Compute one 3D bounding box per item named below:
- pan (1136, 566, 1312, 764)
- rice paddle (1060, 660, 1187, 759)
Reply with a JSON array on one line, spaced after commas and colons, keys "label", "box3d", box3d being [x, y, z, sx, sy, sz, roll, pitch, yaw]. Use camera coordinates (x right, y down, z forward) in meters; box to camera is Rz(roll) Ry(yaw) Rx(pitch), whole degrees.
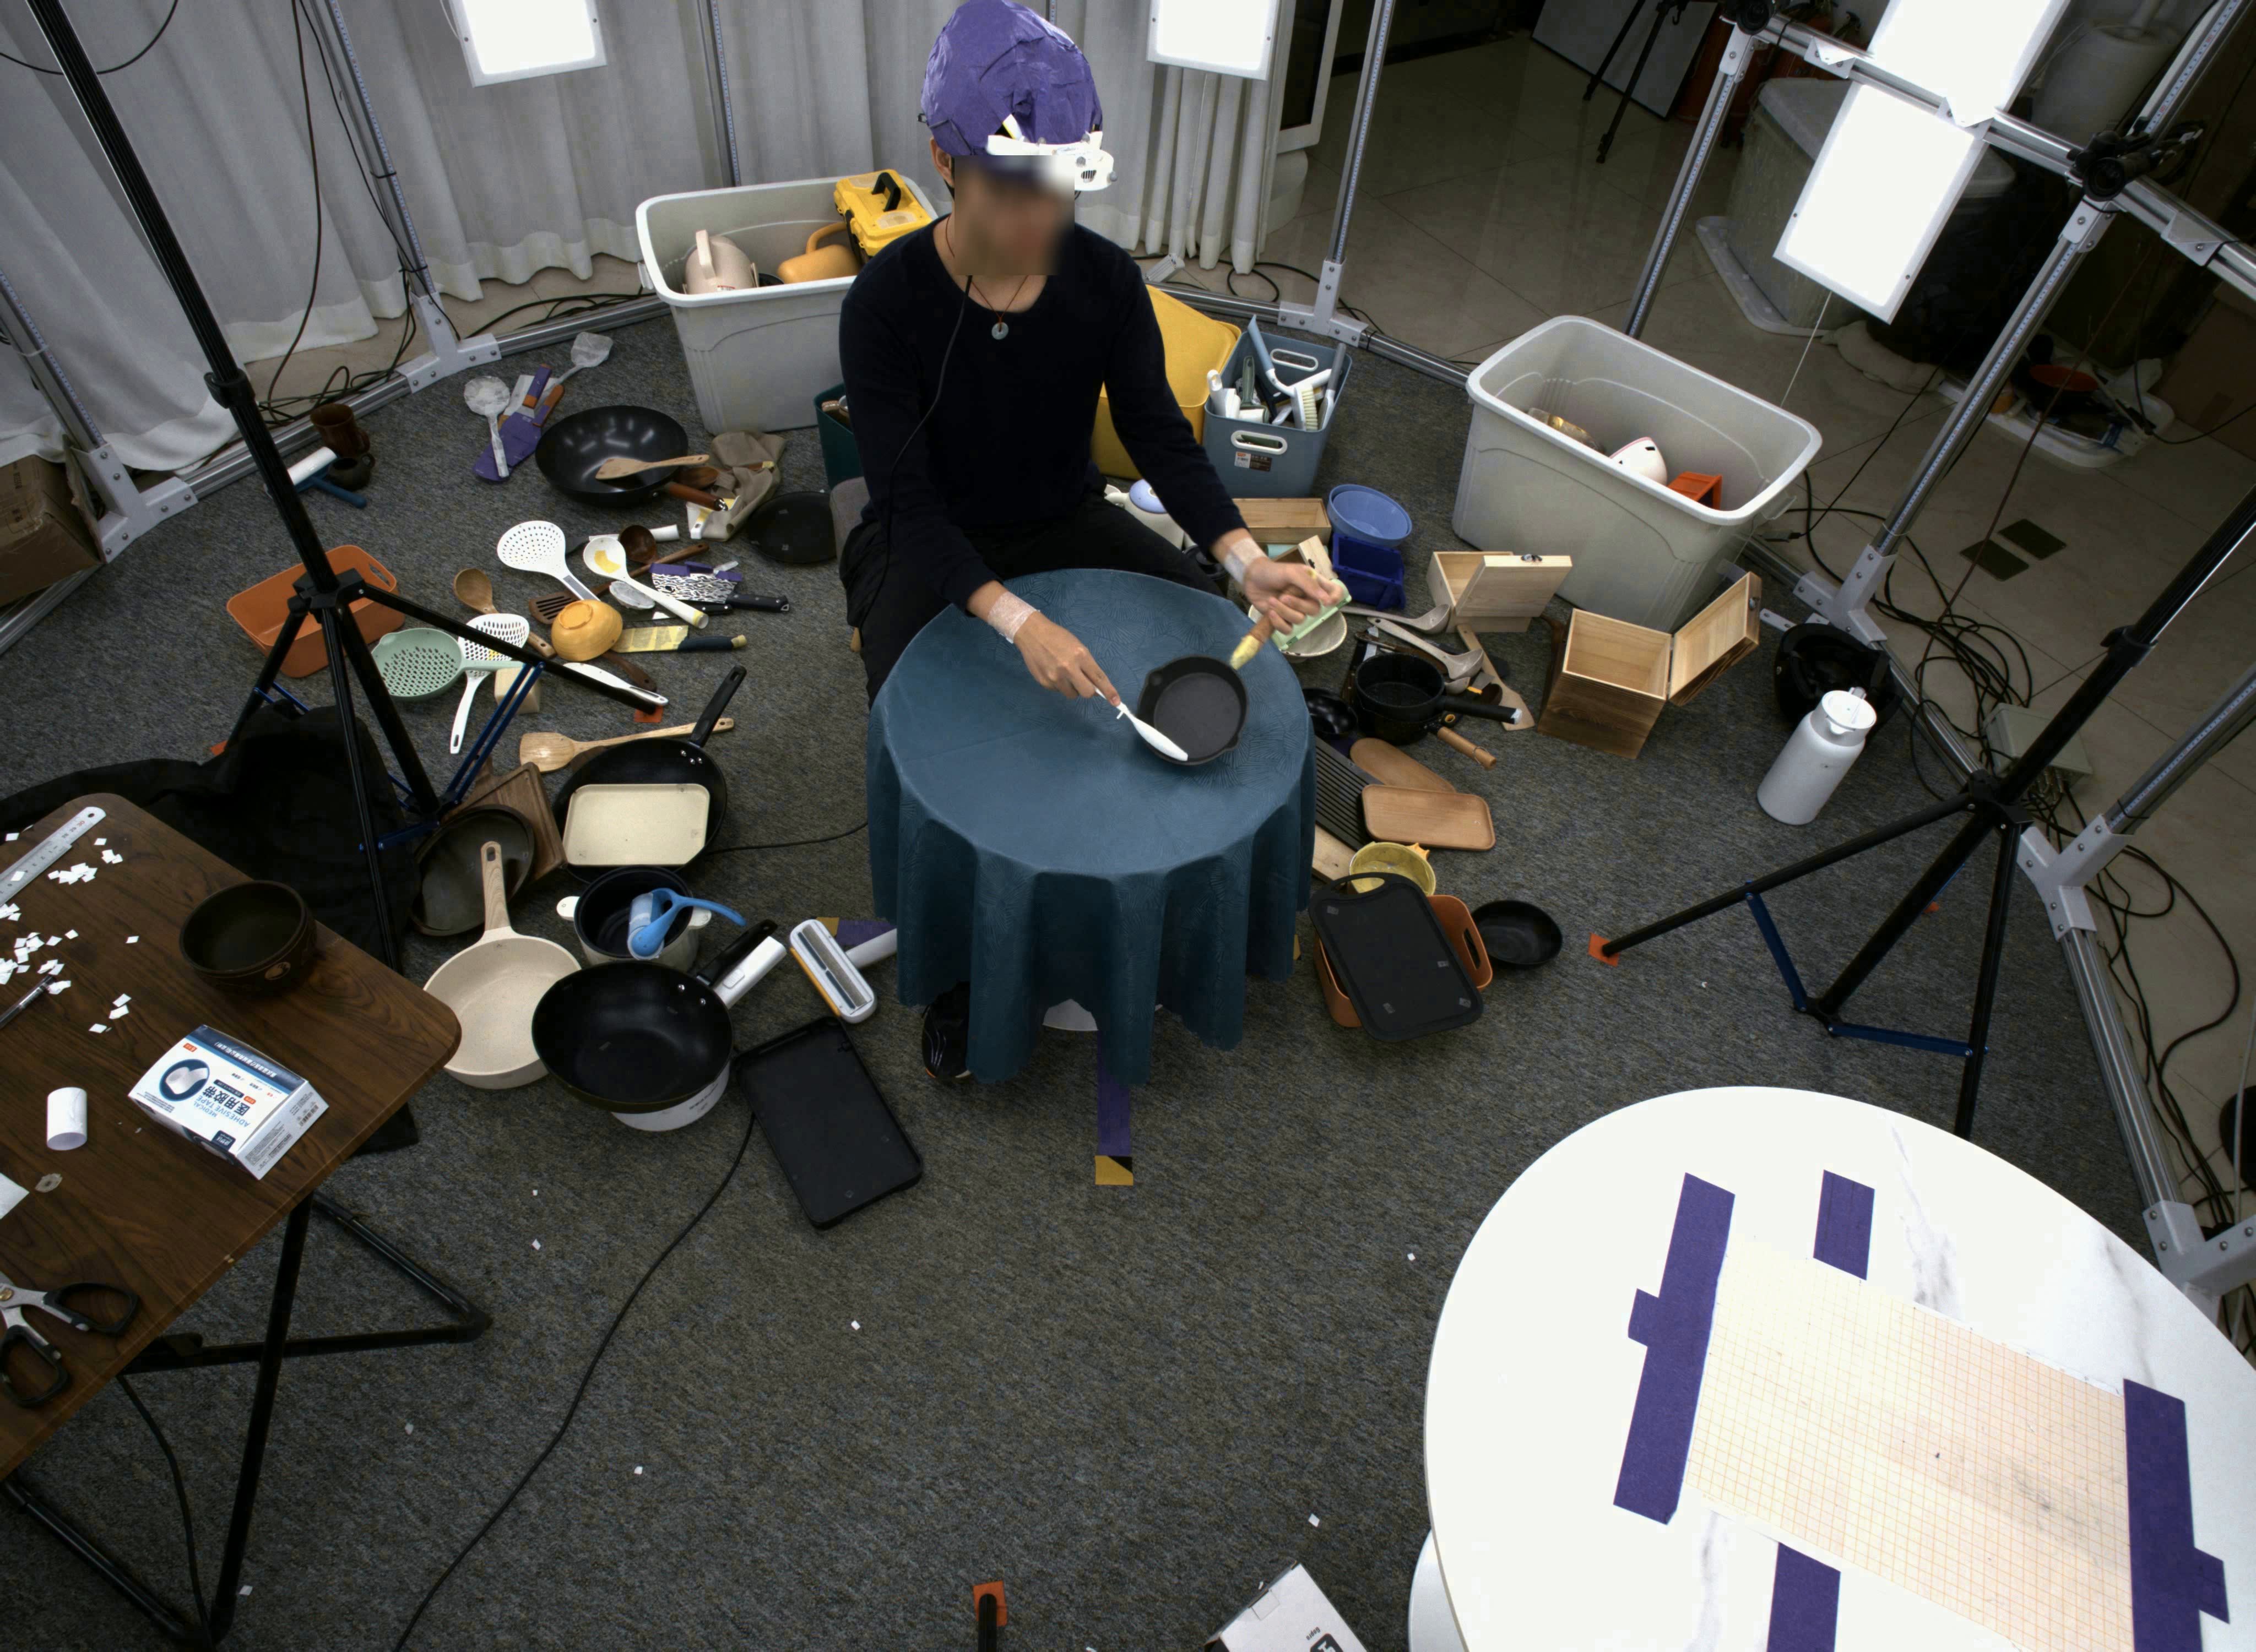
[{"label": "pan", "box3d": [0.144, -0.221, 1.741, 0.171, 0.049, 0.324, 43, 93, 23]}, {"label": "rice paddle", "box3d": [-0.001, -0.154, 1.734, 0.205, 0.029, 0.069, 36, 13, 2]}]
